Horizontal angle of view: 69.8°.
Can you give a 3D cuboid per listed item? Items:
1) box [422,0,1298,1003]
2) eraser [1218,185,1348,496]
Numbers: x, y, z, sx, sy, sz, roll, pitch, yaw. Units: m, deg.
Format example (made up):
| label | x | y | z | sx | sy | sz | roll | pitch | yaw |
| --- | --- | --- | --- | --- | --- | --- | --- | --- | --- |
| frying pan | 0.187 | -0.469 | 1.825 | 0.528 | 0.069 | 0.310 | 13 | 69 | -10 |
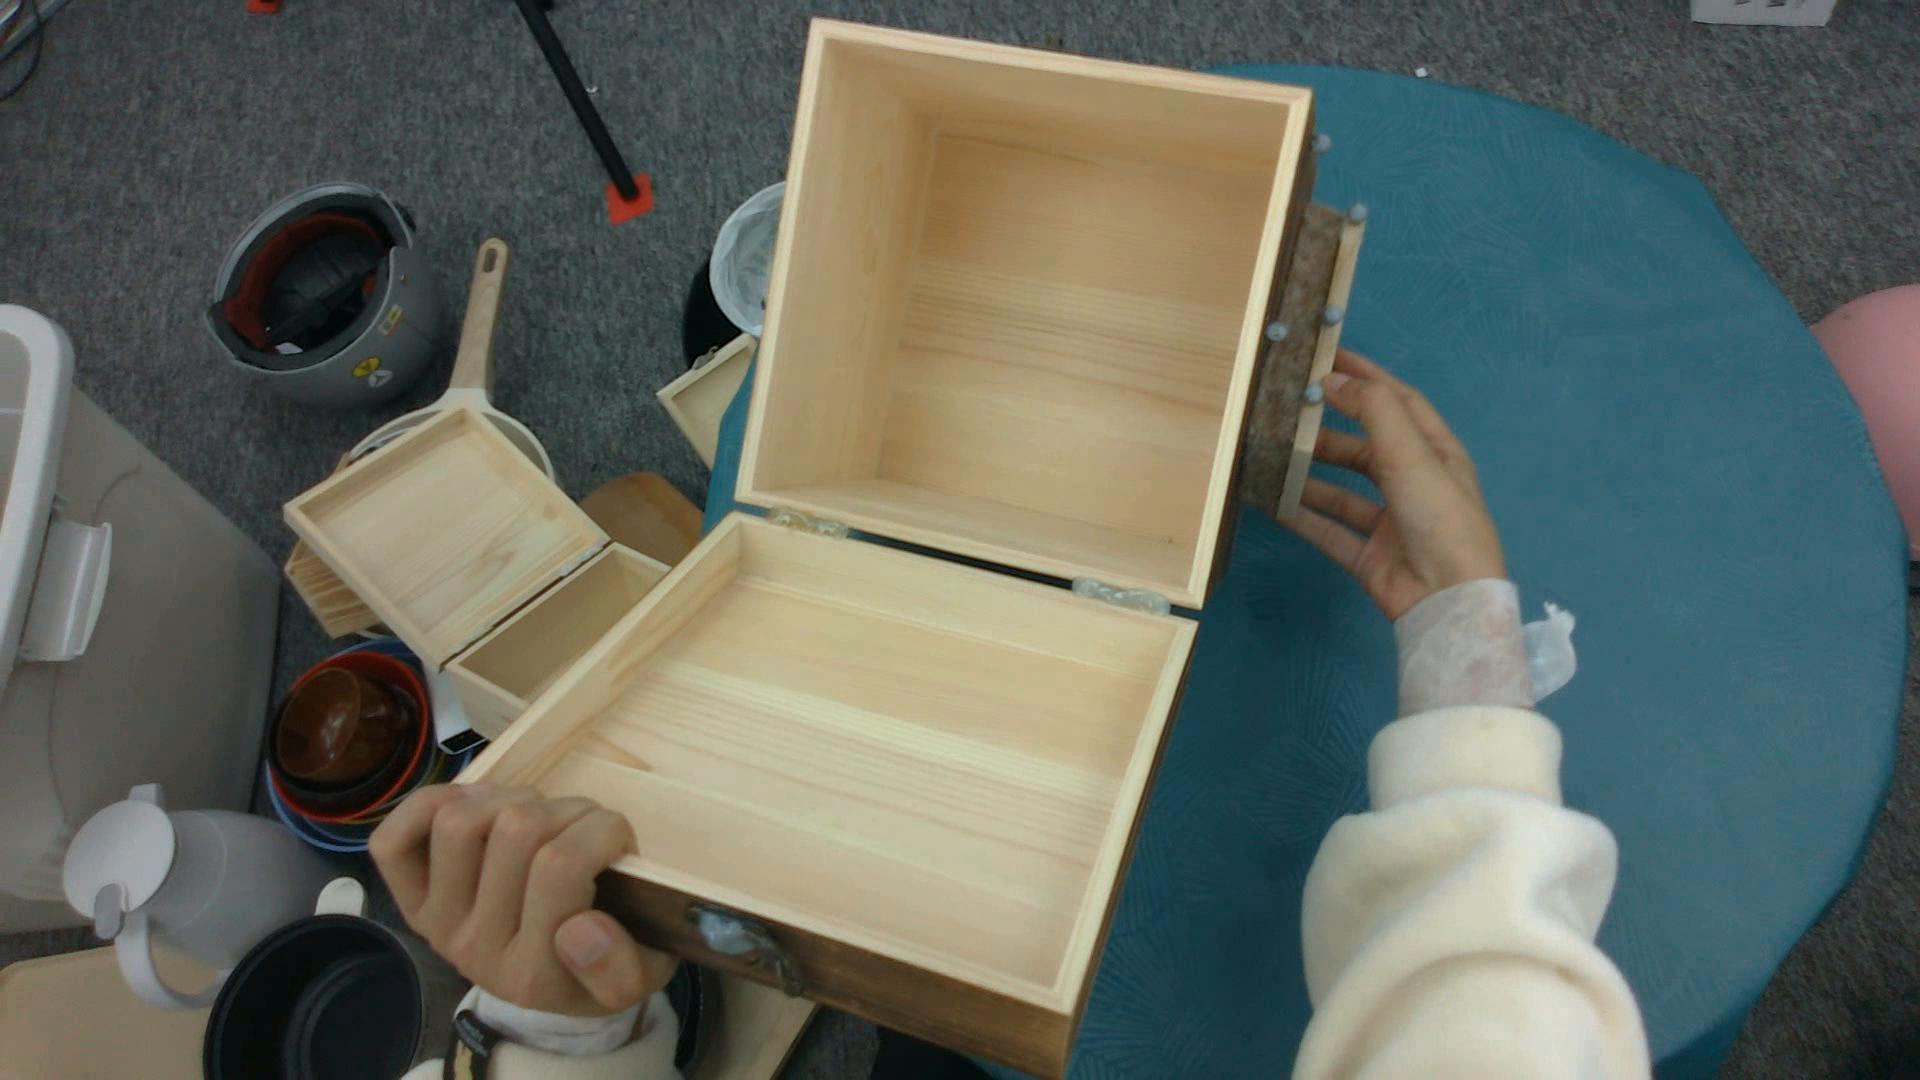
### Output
| label | x | y | z | sx | sy | sz | roll | pitch | yaw |
| --- | --- | --- | --- | --- | --- | --- | --- | --- | --- |
| box | 0.001 | -0.049 | 0.538 | 0.208 | 0.376 | 0.321 | 12 | 96 | 12 |
| eraser | 0.146 | -0.093 | 0.623 | 0.029 | 0.057 | 0.140 | 14 | 60 | 12 |
